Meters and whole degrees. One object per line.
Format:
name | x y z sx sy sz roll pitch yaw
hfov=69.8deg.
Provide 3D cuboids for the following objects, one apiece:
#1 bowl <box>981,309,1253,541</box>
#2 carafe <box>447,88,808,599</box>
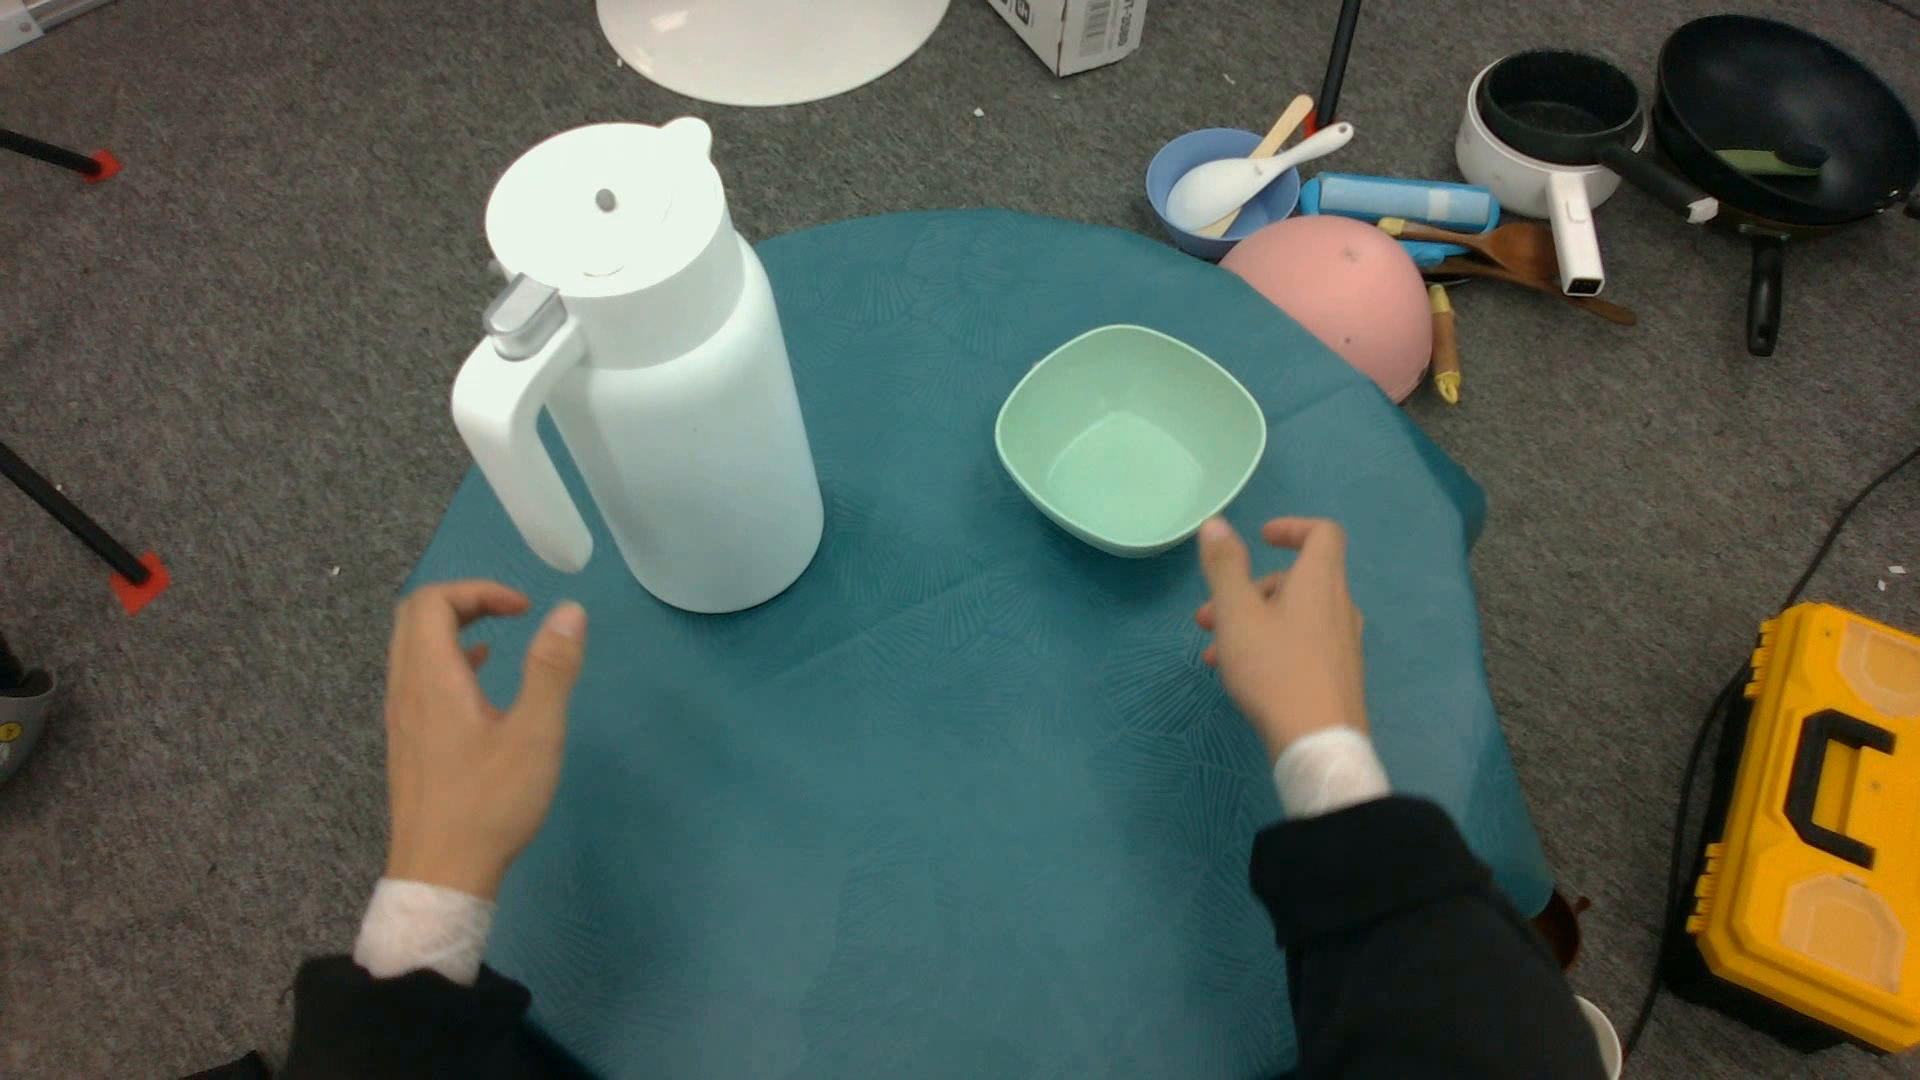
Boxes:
bowl | 0.088 -0.057 0.790 0.151 0.058 0.152 -1 60 1
carafe | -0.155 -0.066 0.679 0.124 0.267 0.173 23 63 12
